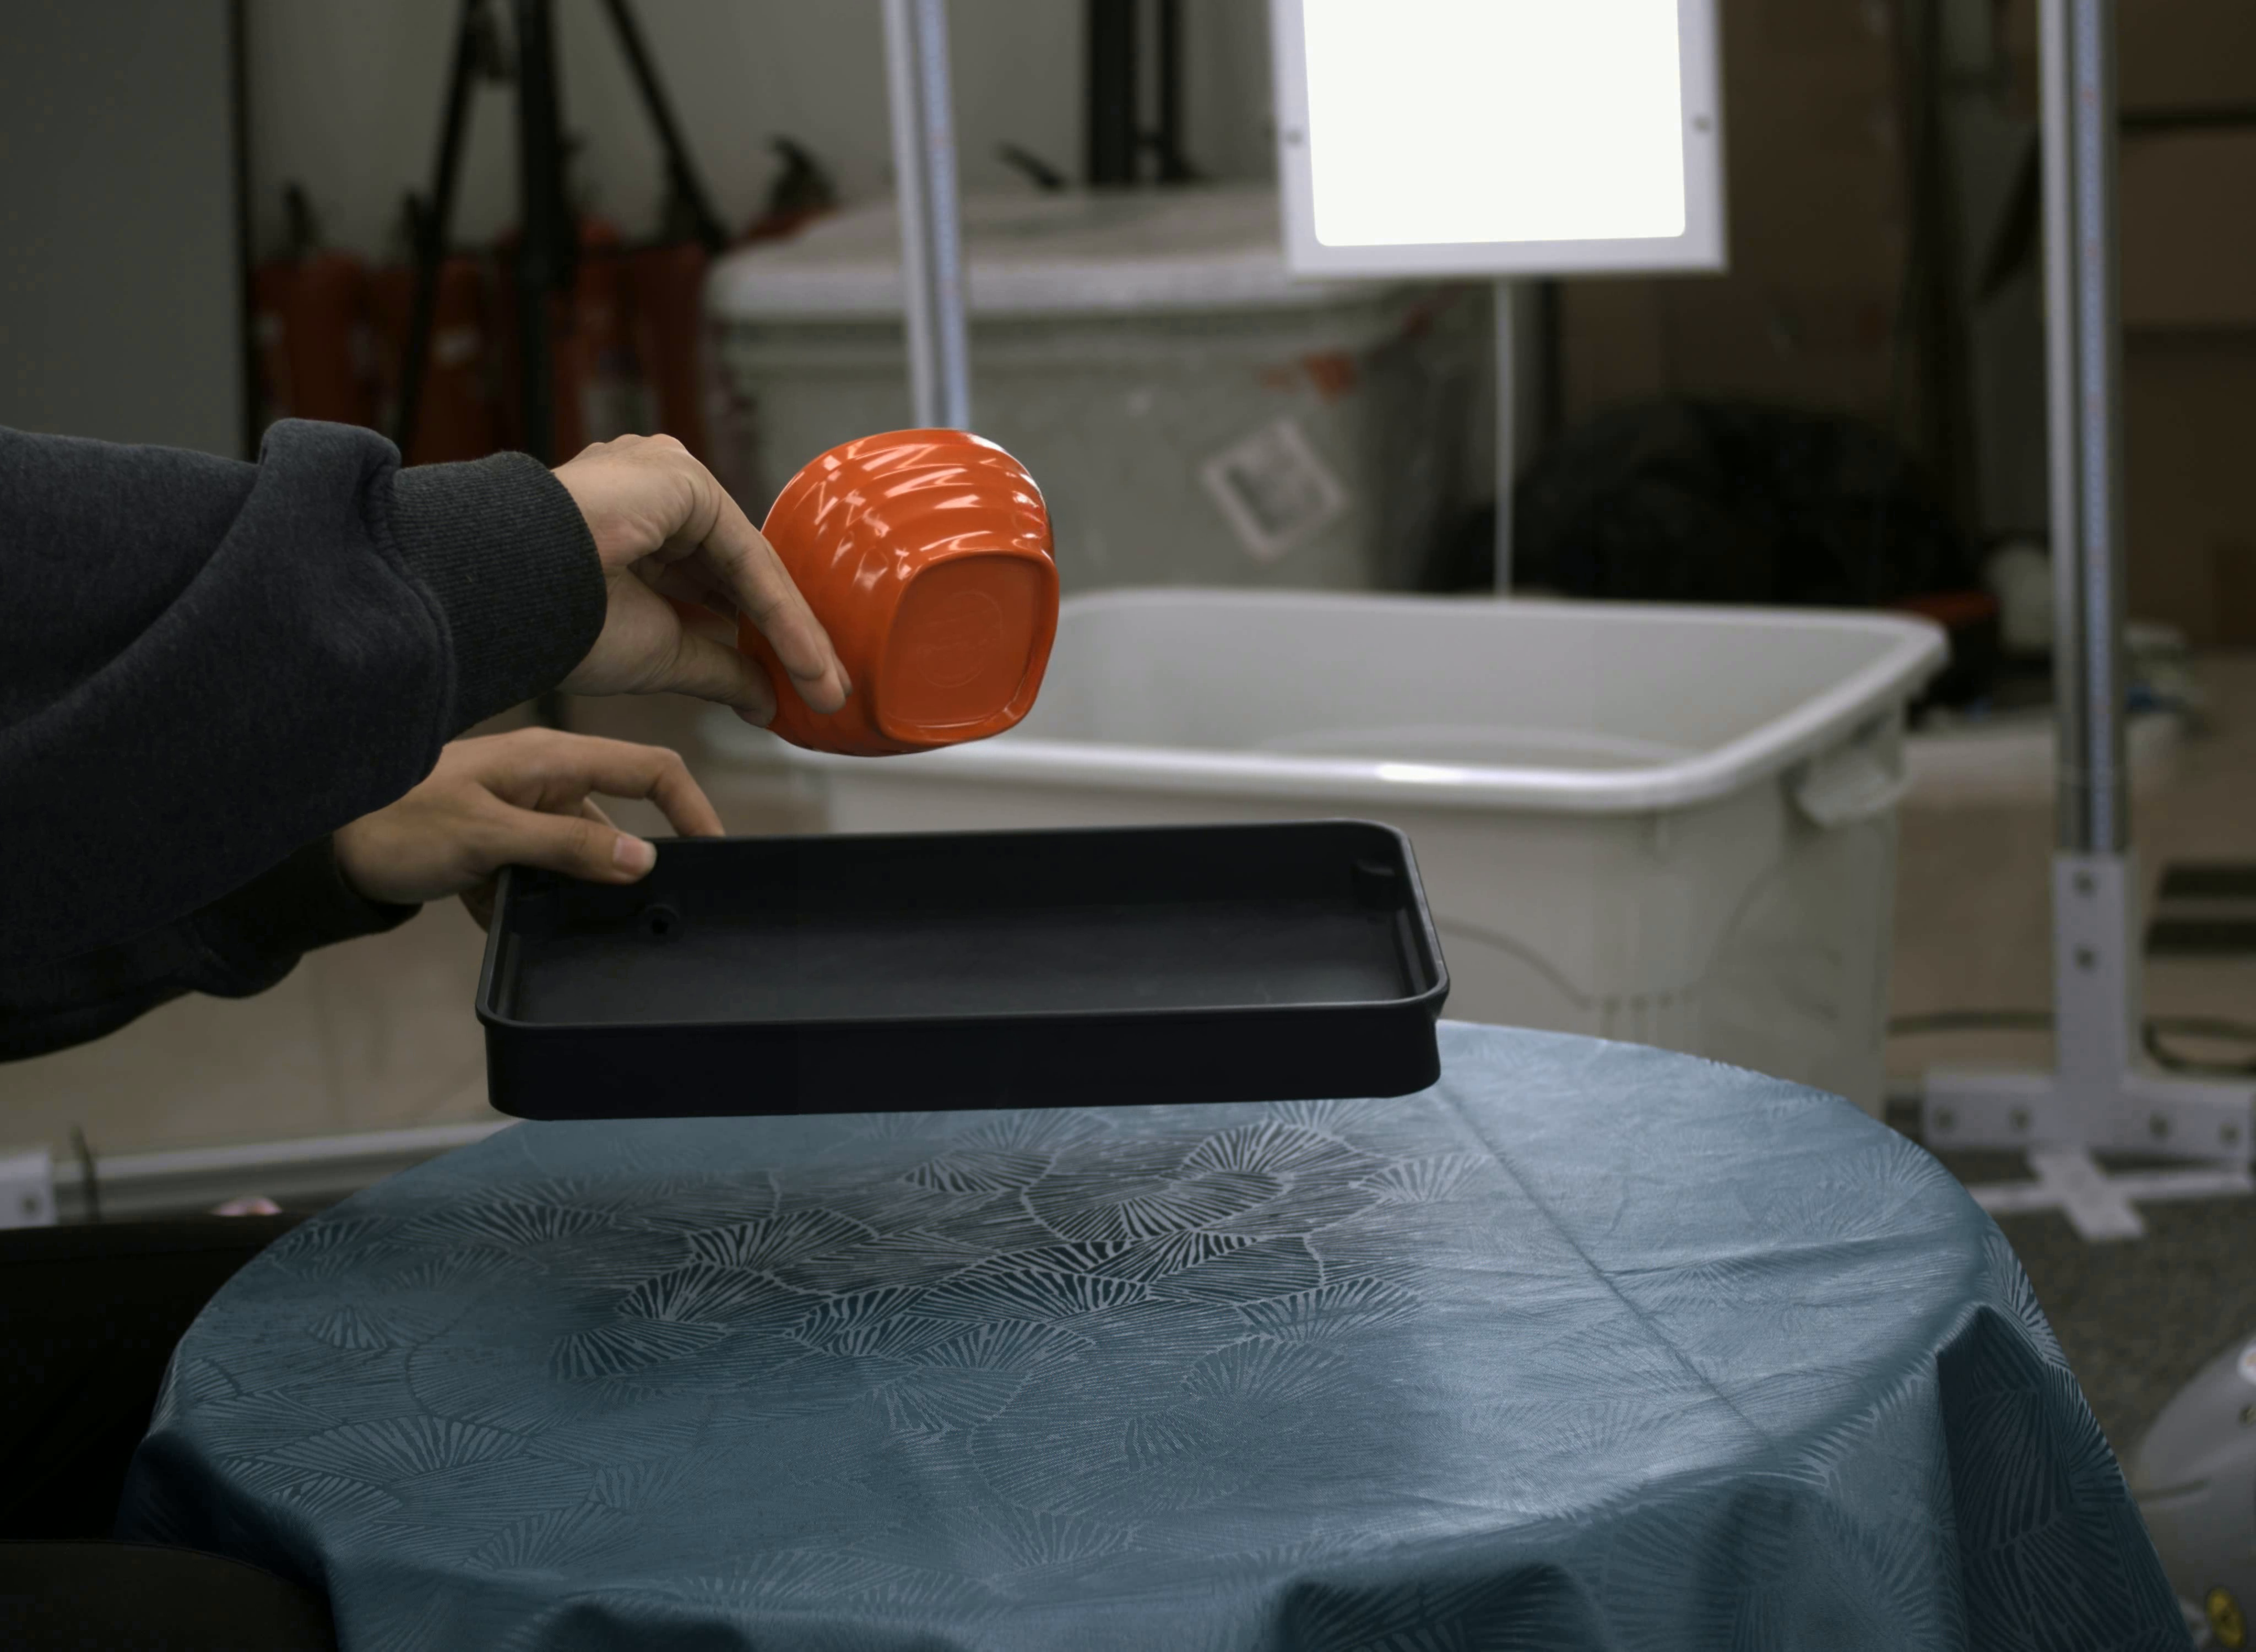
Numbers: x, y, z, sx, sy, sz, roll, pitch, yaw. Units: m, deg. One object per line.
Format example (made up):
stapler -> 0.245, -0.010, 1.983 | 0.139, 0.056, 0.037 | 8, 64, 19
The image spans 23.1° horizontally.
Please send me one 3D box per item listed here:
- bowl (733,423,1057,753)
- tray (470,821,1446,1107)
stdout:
bowl -> -0.065, -0.067, 1.741 | 0.116, 0.120, 0.052 | -12, 33, -31
tray -> -0.058, 0.044, 1.855 | 0.317, 0.037, 0.184 | -1, 19, -1
